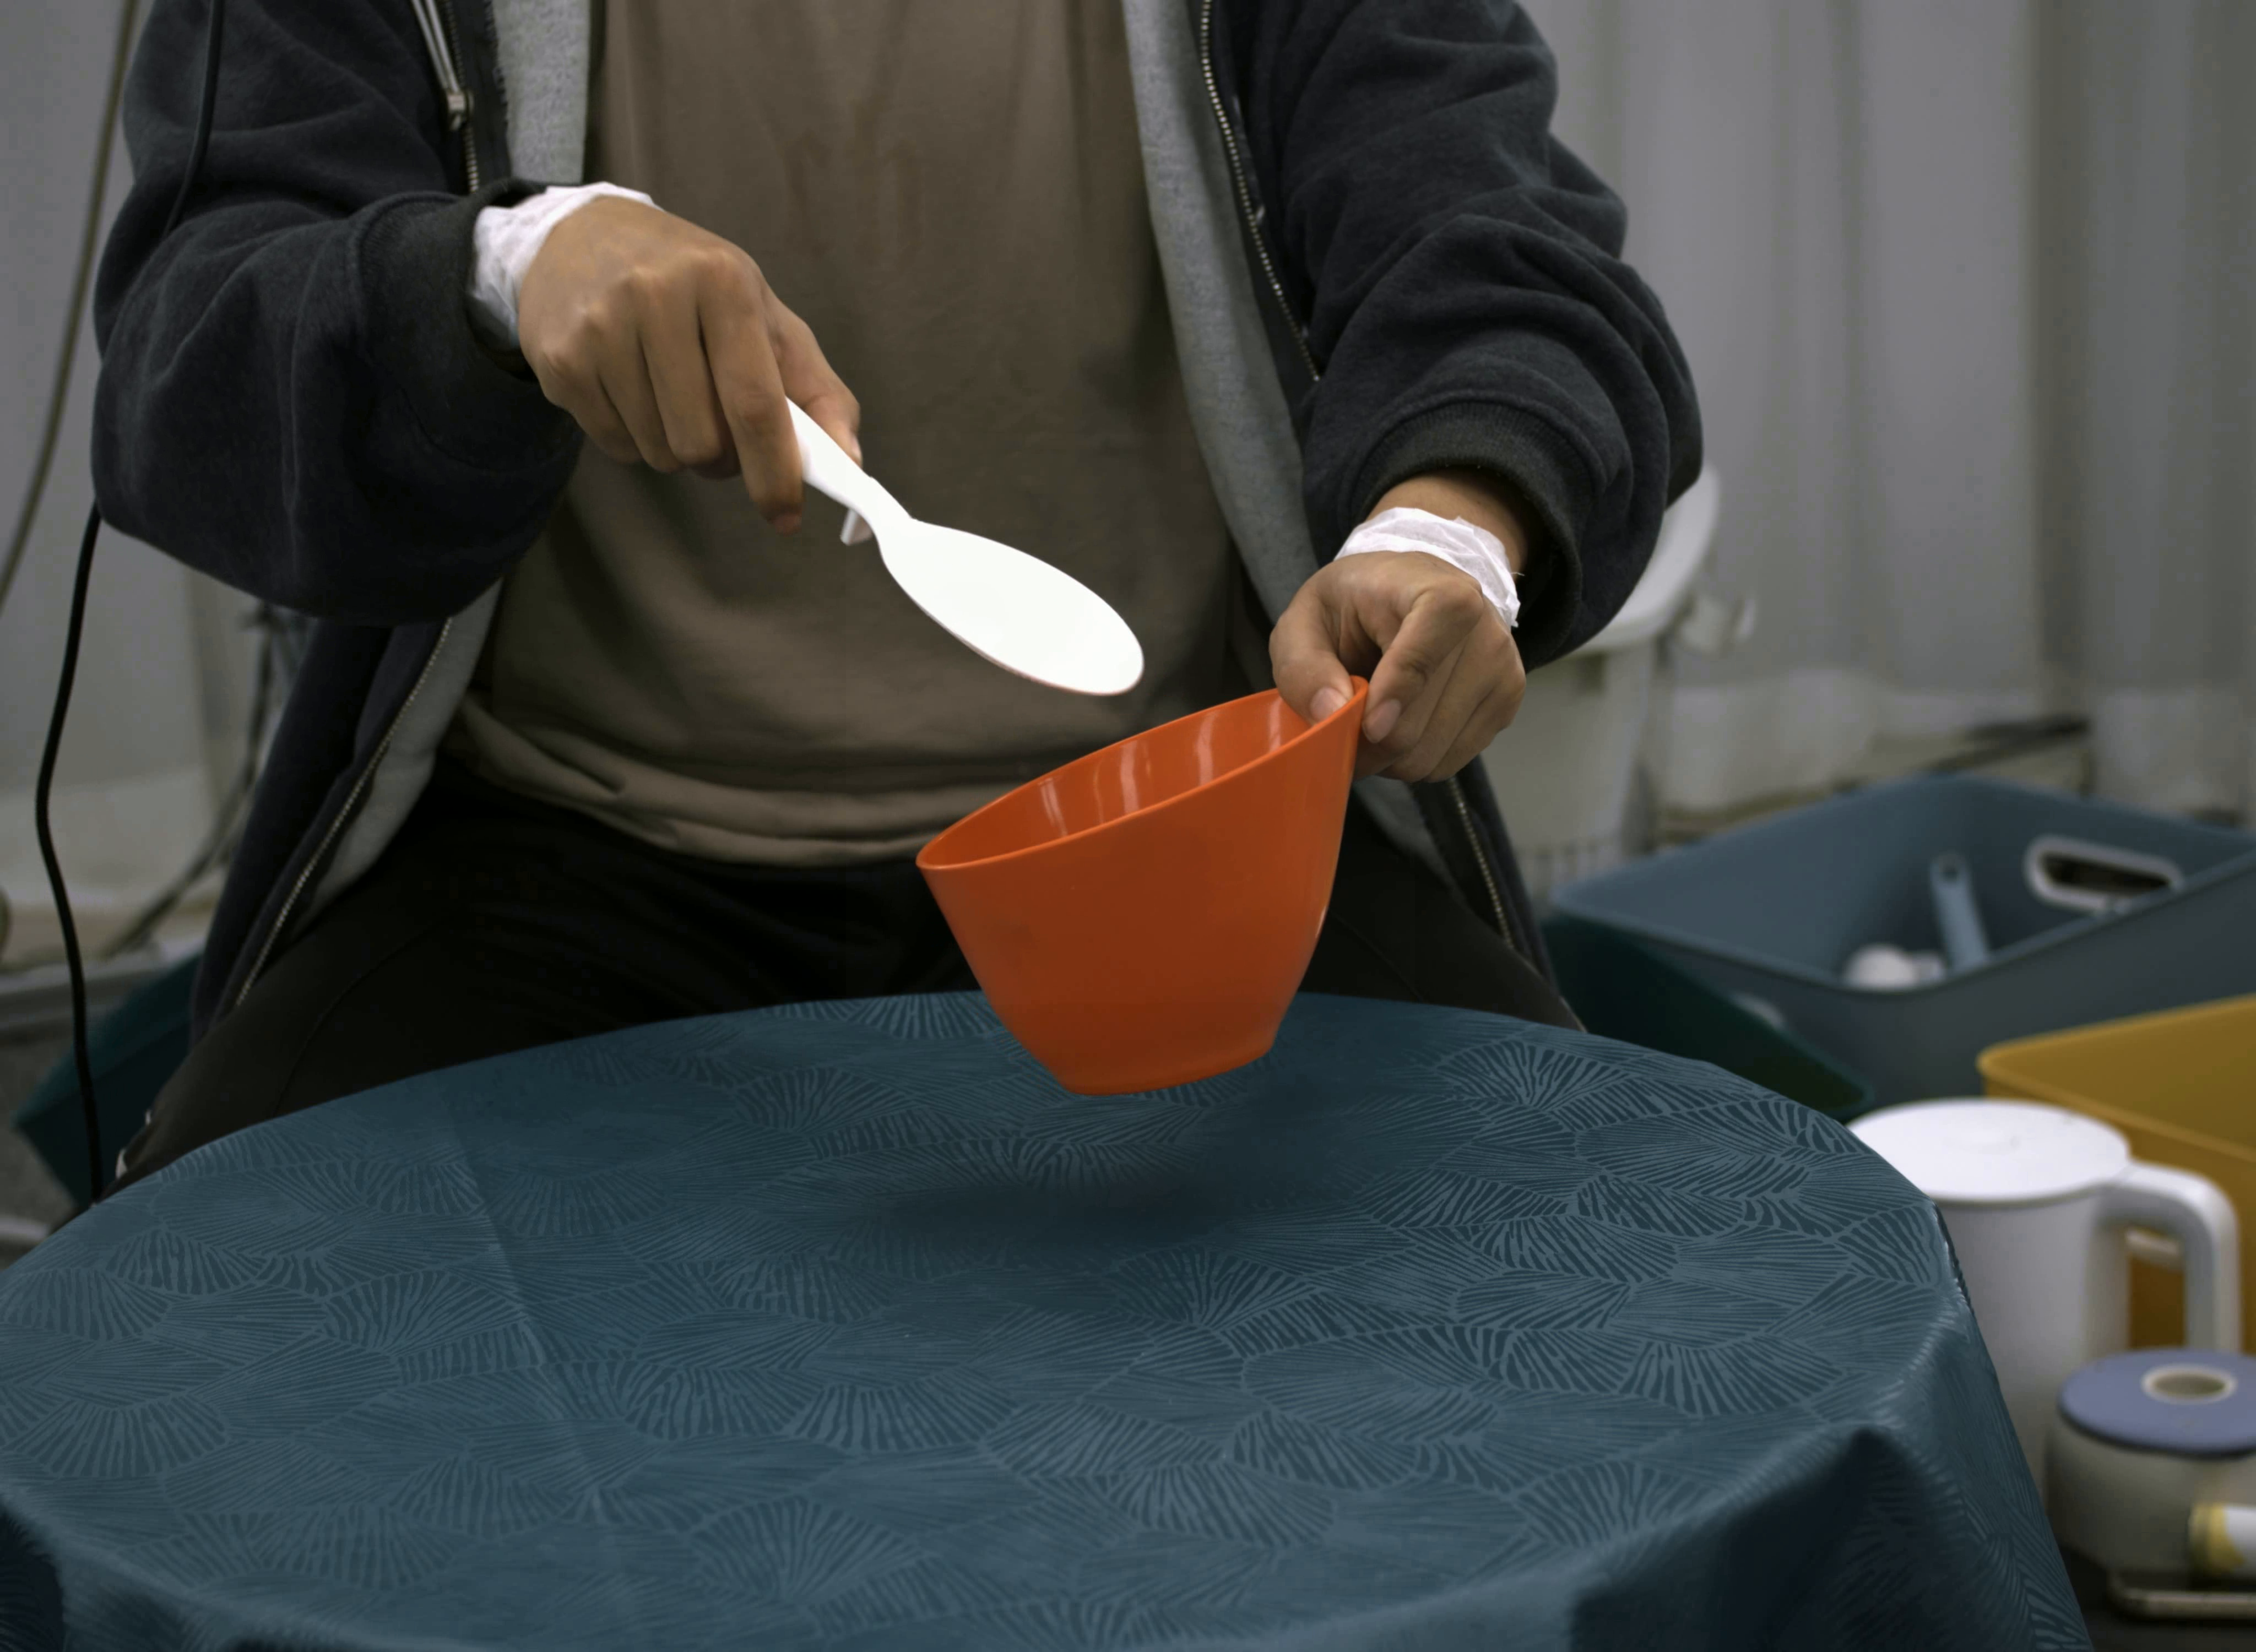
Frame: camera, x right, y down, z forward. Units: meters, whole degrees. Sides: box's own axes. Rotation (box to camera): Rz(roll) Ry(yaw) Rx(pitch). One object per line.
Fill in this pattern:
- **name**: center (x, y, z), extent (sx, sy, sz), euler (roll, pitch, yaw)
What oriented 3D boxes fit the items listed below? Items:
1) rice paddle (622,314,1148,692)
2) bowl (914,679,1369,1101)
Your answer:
- **rice paddle**: center (-0.075, -0.099, 1.722), extent (0.207, 0.029, 0.069), euler (35, 32, 24)
- **bowl**: center (0.012, 0.023, 1.678), extent (0.147, 0.104, 0.149), euler (-12, 10, 2)
